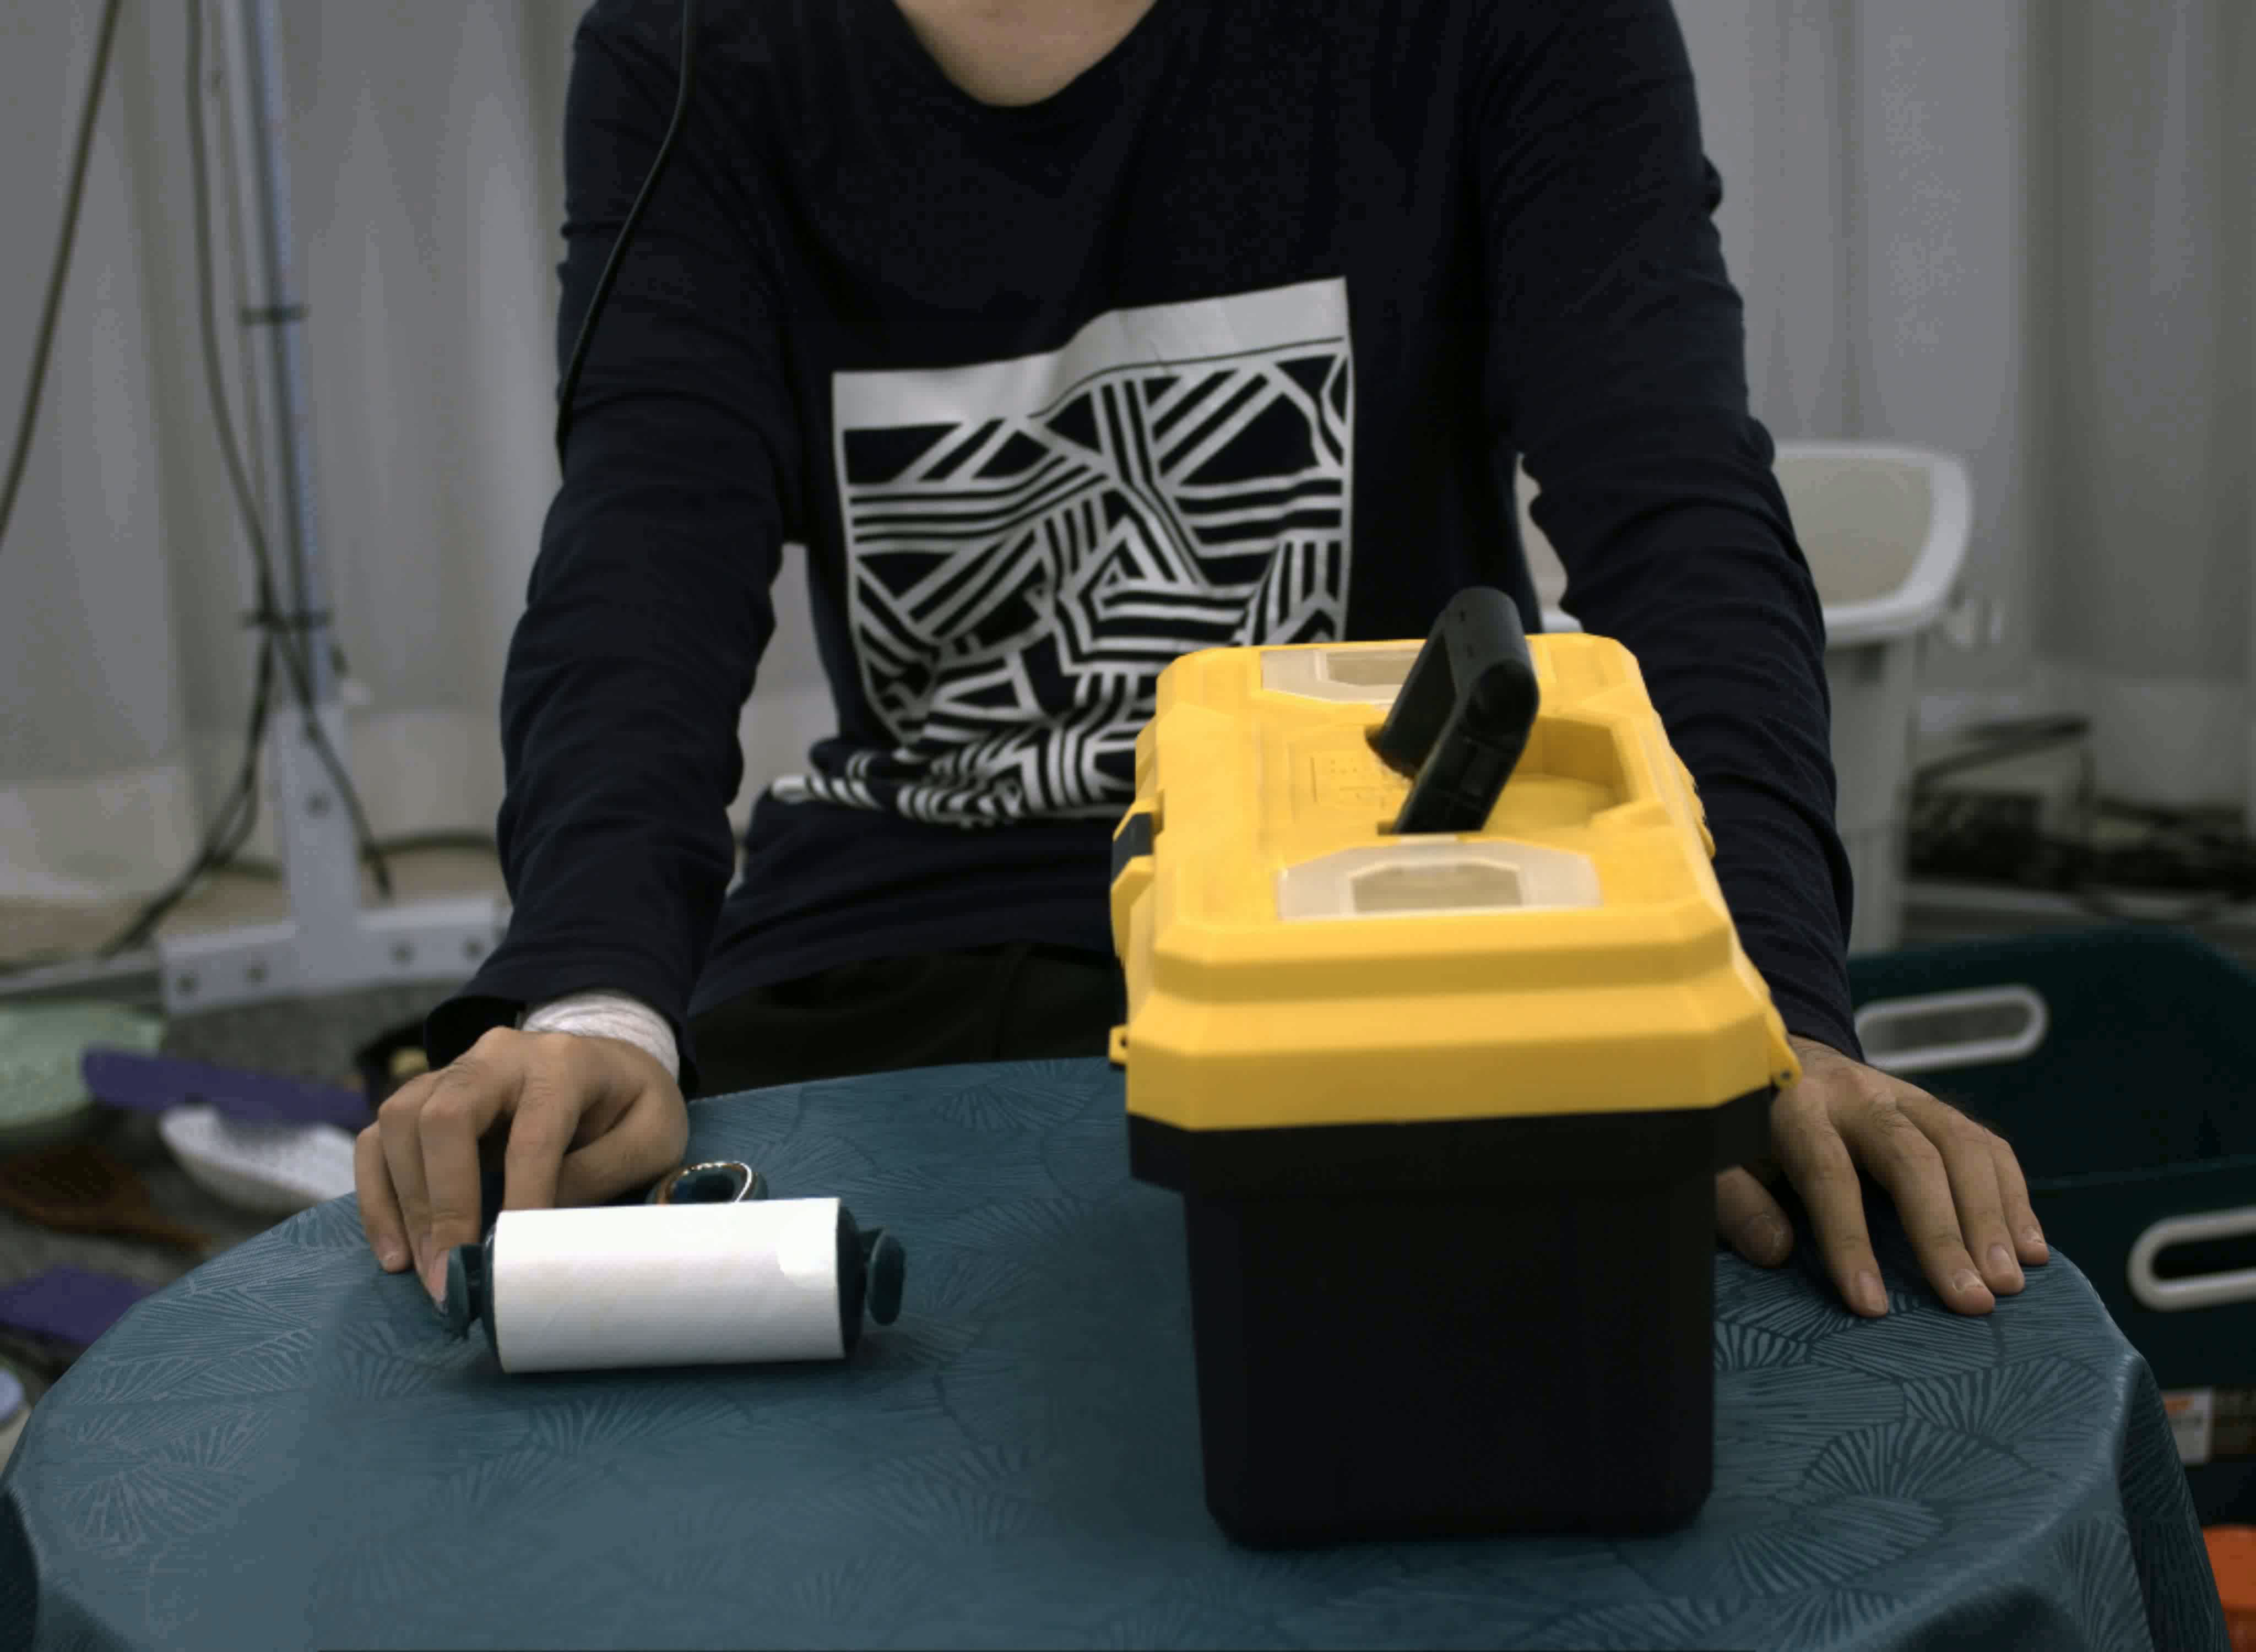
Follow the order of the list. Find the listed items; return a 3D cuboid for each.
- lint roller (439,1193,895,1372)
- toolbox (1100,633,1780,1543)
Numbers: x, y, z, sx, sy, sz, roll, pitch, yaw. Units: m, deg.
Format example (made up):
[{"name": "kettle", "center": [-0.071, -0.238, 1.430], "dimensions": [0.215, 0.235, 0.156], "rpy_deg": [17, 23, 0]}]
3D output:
[{"name": "lint roller", "center": [-0.132, 0.120, 1.647], "dimensions": [0.134, 0.048, 0.181], "rpy_deg": [-3, 11, 1]}, {"name": "toolbox", "center": [0.082, 0.065, 1.554], "dimensions": [0.181, 0.172, 0.354], "rpy_deg": [-2, 14, 1]}]
